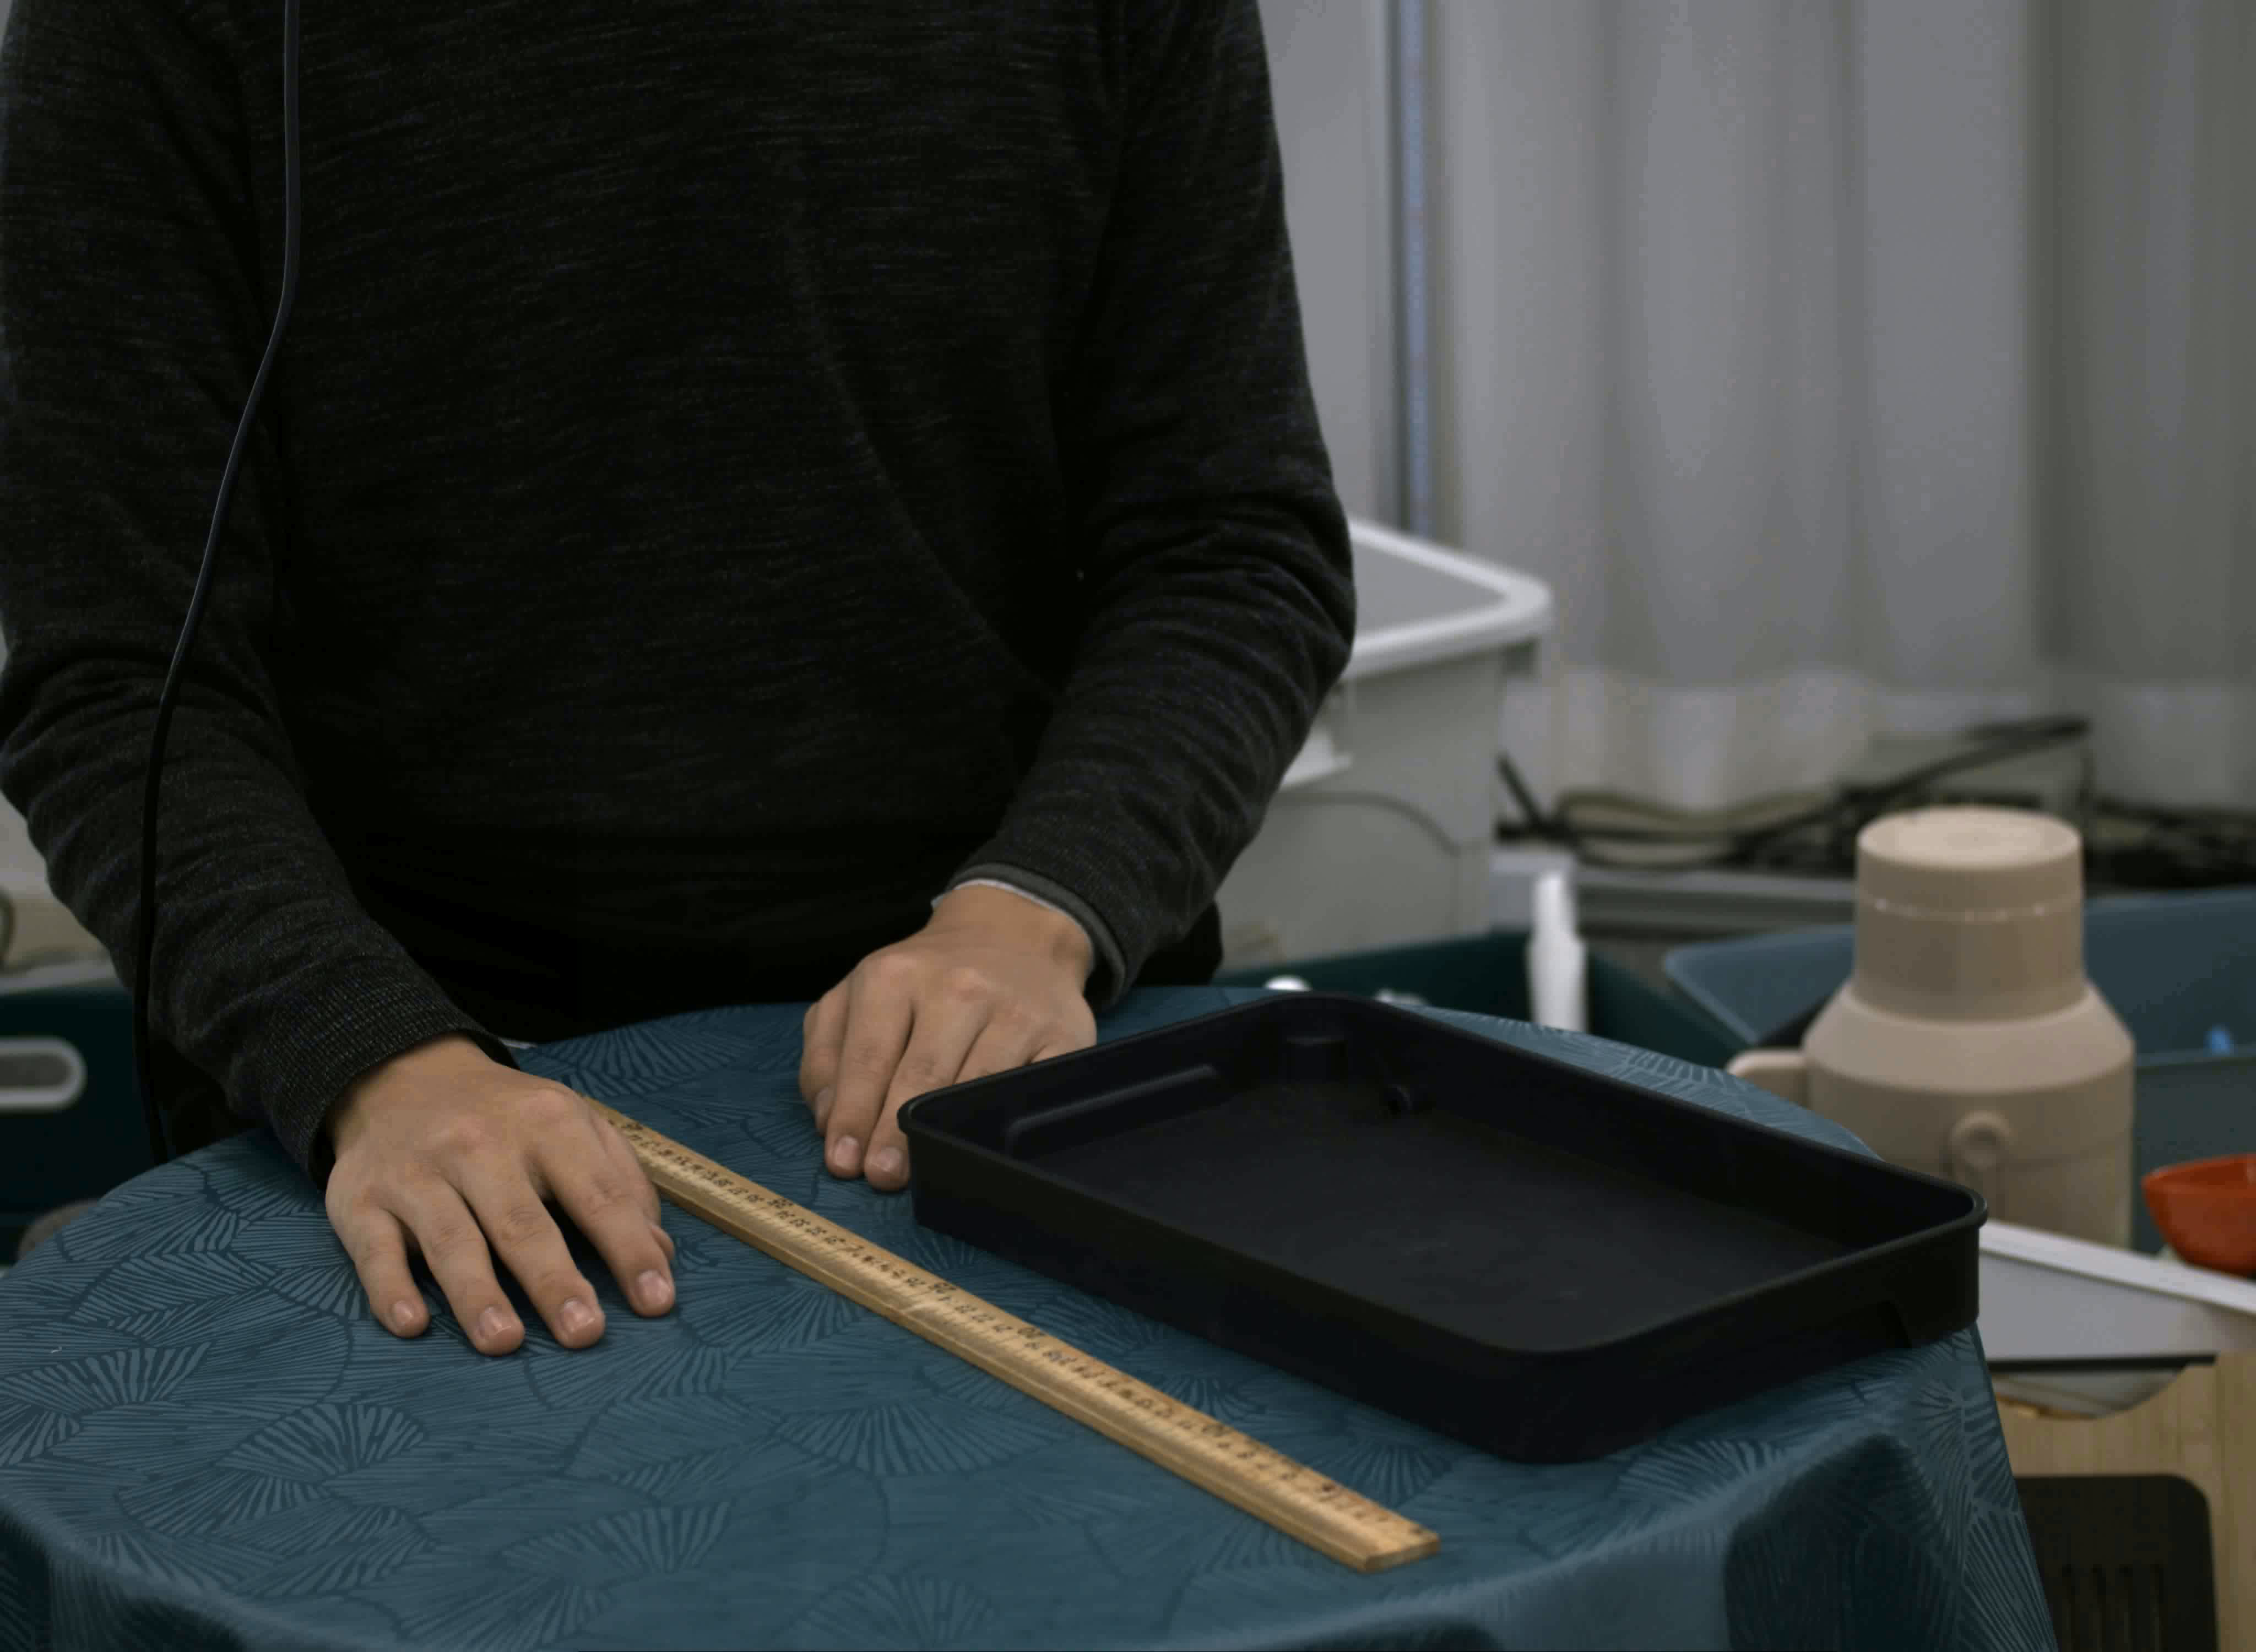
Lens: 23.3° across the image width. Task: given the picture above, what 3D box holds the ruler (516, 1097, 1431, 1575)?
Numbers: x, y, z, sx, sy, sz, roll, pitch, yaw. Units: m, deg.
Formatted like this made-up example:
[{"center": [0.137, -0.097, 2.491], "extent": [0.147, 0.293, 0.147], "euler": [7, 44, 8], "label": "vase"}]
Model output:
[{"center": [-0.061, 0.141, 1.616], "extent": [0.026, 0.006, 0.504], "euler": [-9, 16, -30], "label": "ruler"}]

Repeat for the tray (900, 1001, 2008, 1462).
[{"center": [0.091, 0.115, 1.627], "extent": [0.184, 0.037, 0.320], "euler": [-14, 17, -36], "label": "tray"}]
